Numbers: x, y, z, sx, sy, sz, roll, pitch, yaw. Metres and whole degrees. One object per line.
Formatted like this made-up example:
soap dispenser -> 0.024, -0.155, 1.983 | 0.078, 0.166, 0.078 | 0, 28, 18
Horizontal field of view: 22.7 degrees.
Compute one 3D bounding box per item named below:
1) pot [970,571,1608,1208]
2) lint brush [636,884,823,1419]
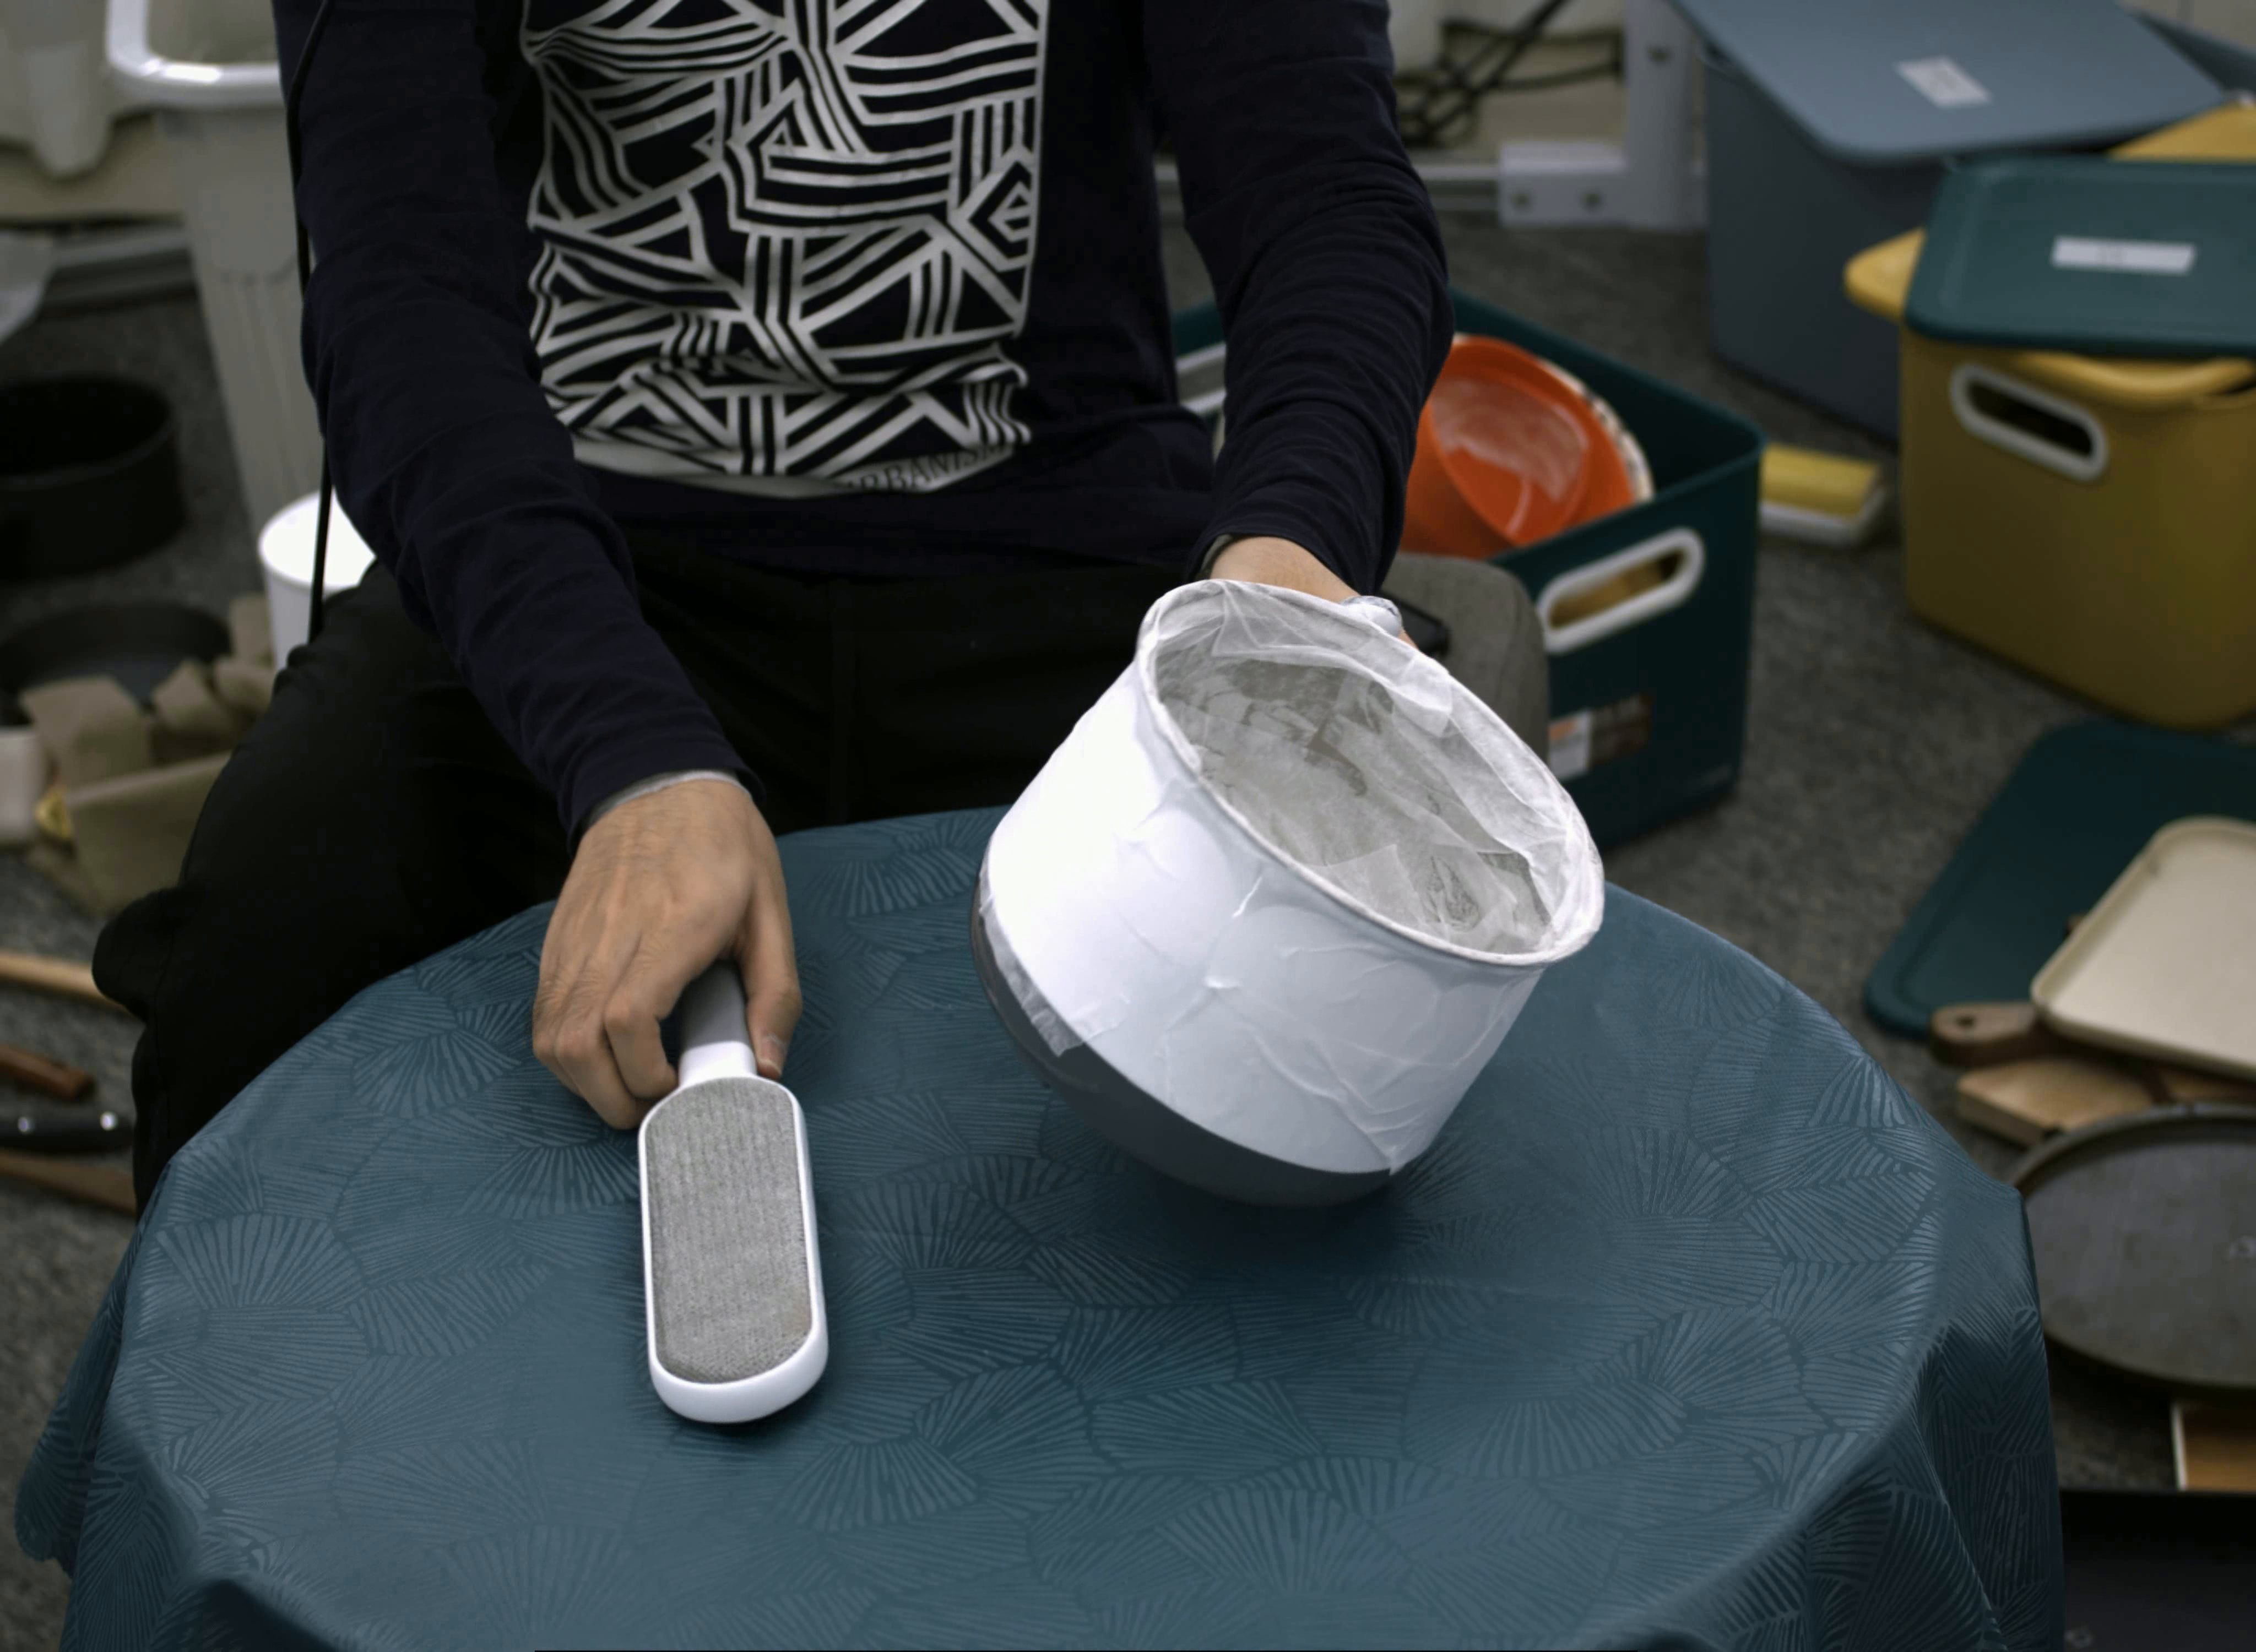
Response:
pot -> 0.049, 0.010, 1.848 | 0.178, 0.134, 0.238 | 30, 29, -14
lint brush -> -0.134, 0.102, 1.868 | 0.060, 0.021, 0.313 | -15, 30, 2
